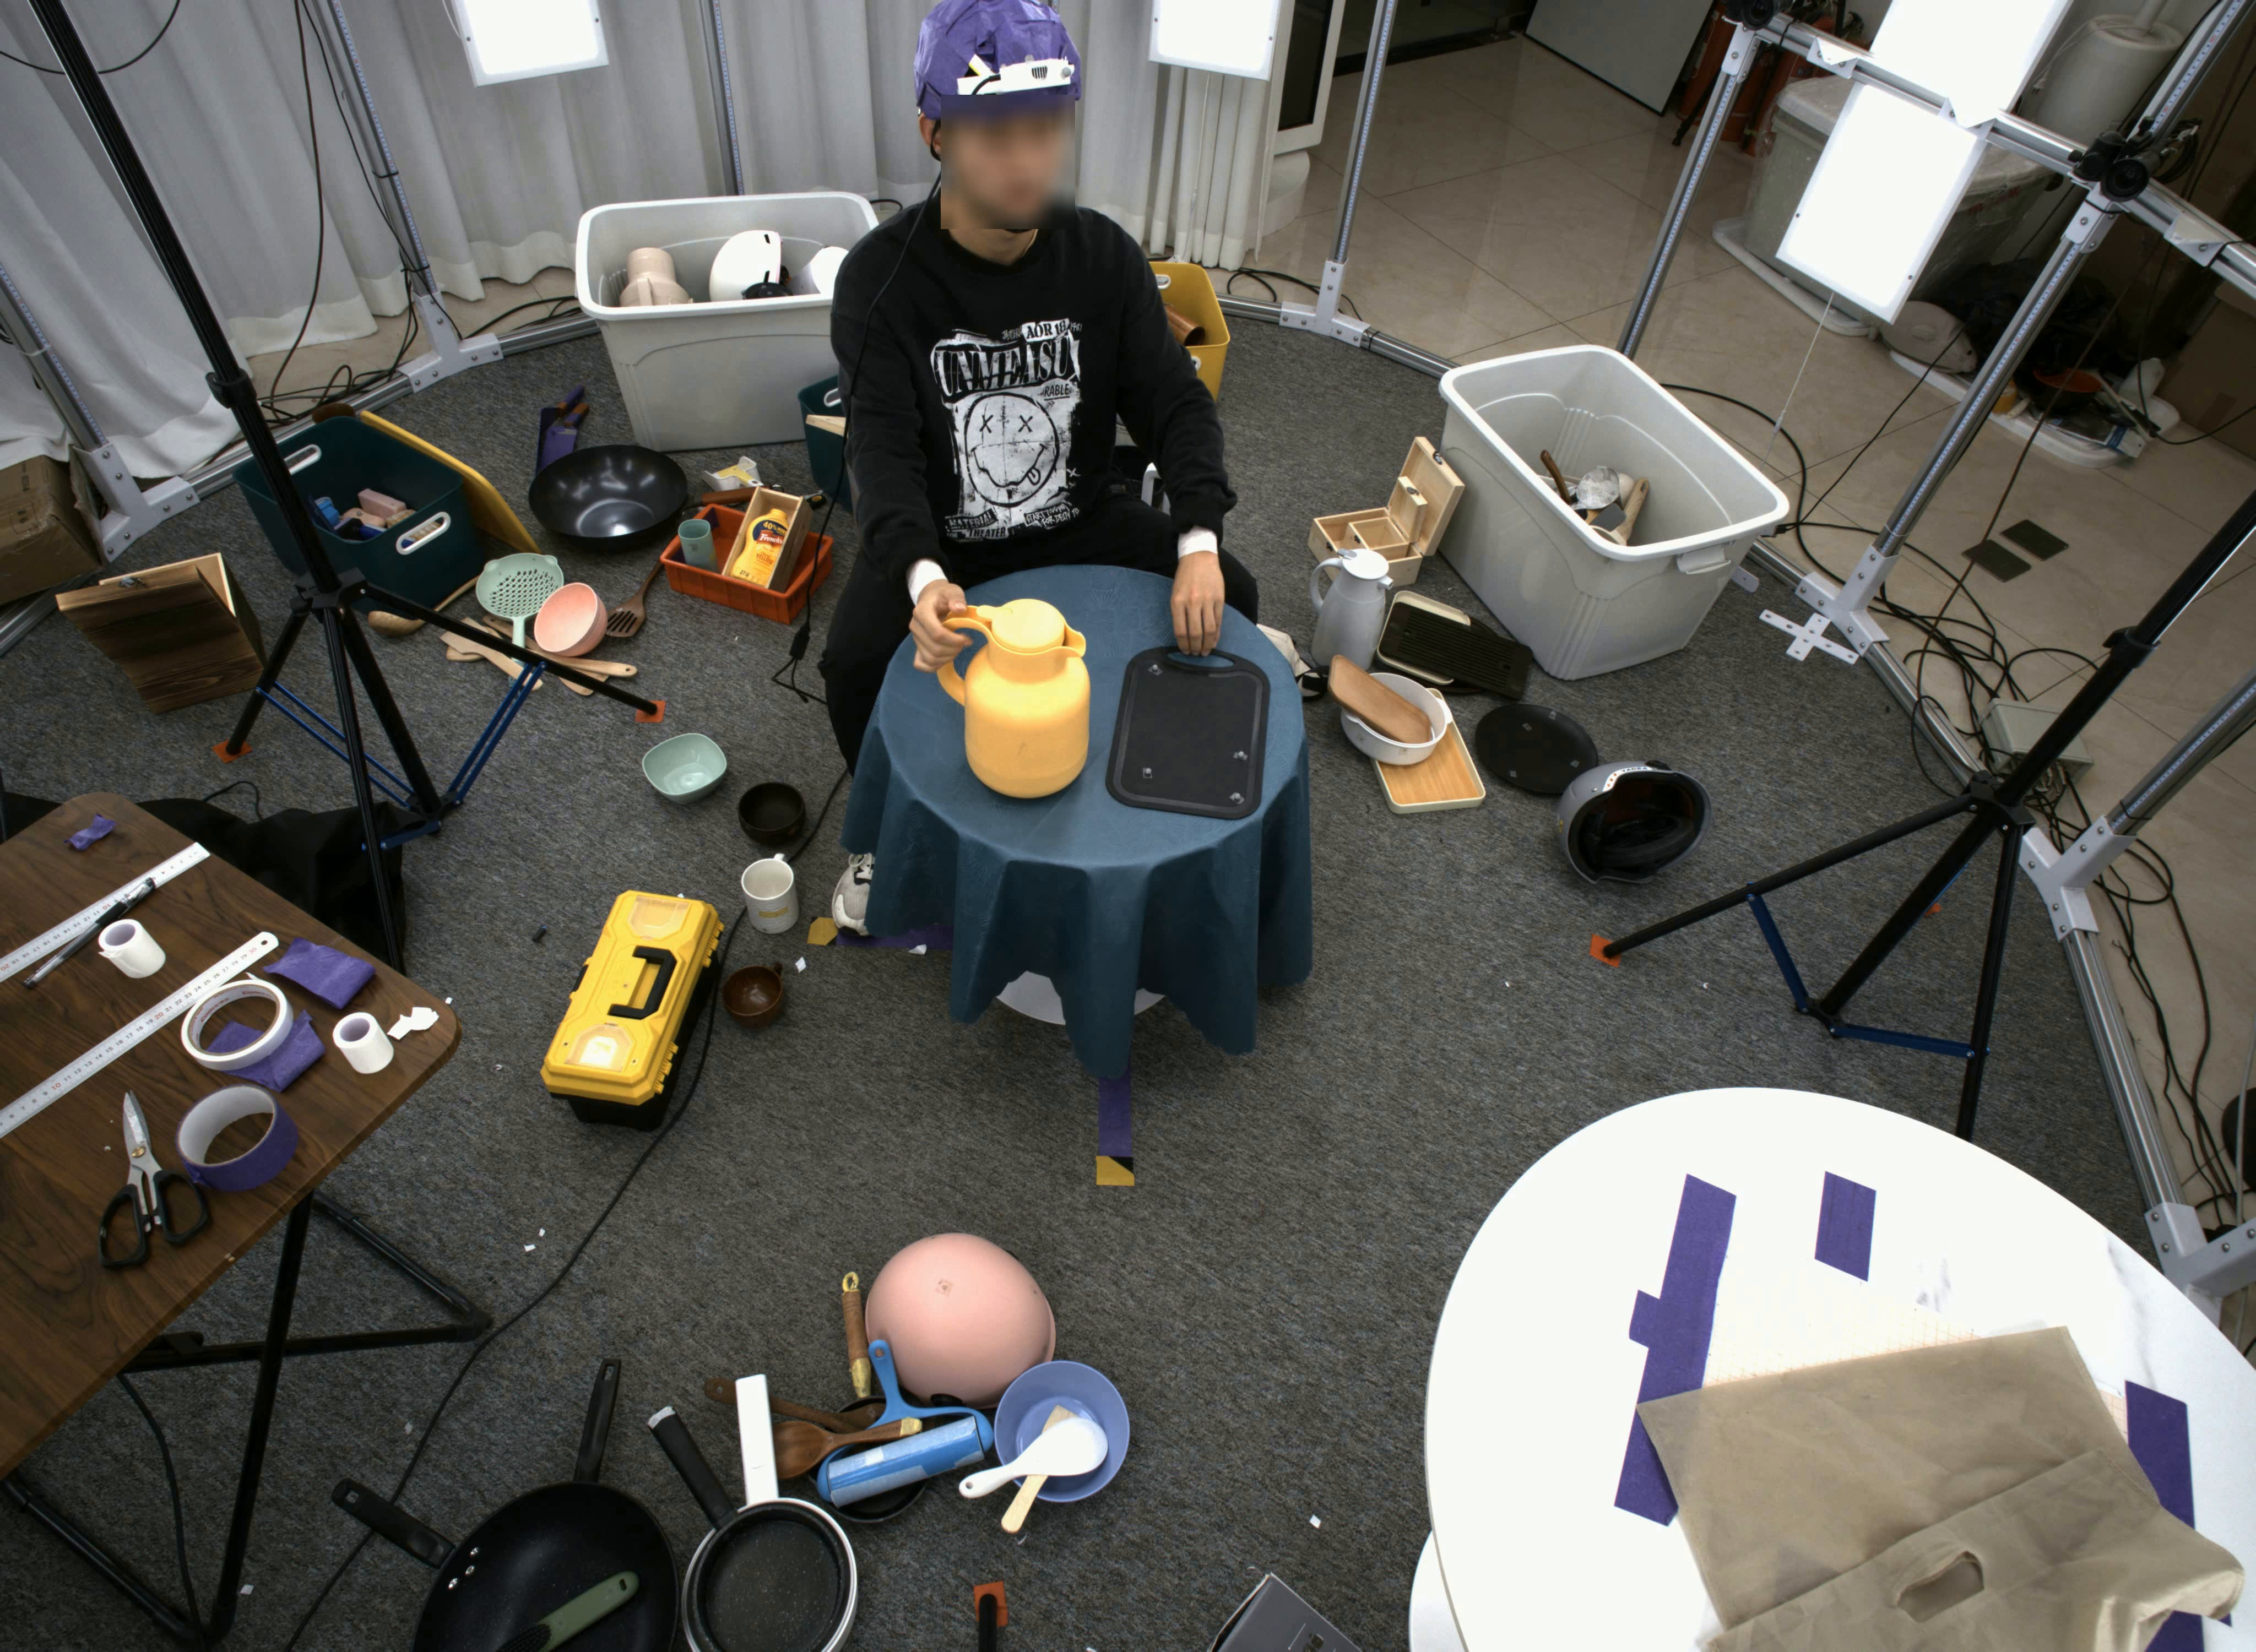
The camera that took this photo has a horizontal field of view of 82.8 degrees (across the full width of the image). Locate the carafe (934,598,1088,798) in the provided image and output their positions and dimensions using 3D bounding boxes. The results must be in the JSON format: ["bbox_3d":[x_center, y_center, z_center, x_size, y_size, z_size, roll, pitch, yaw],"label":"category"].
[{"bbox_3d":[-0.149,-0.175,1.642,0.203,0.254,0.166,20,48,11],"label":"carafe"}]

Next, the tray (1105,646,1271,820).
[{"bbox_3d":[0.089,-0.142,1.793,0.211,0.009,0.333,8,49,3],"label":"tray"}]
